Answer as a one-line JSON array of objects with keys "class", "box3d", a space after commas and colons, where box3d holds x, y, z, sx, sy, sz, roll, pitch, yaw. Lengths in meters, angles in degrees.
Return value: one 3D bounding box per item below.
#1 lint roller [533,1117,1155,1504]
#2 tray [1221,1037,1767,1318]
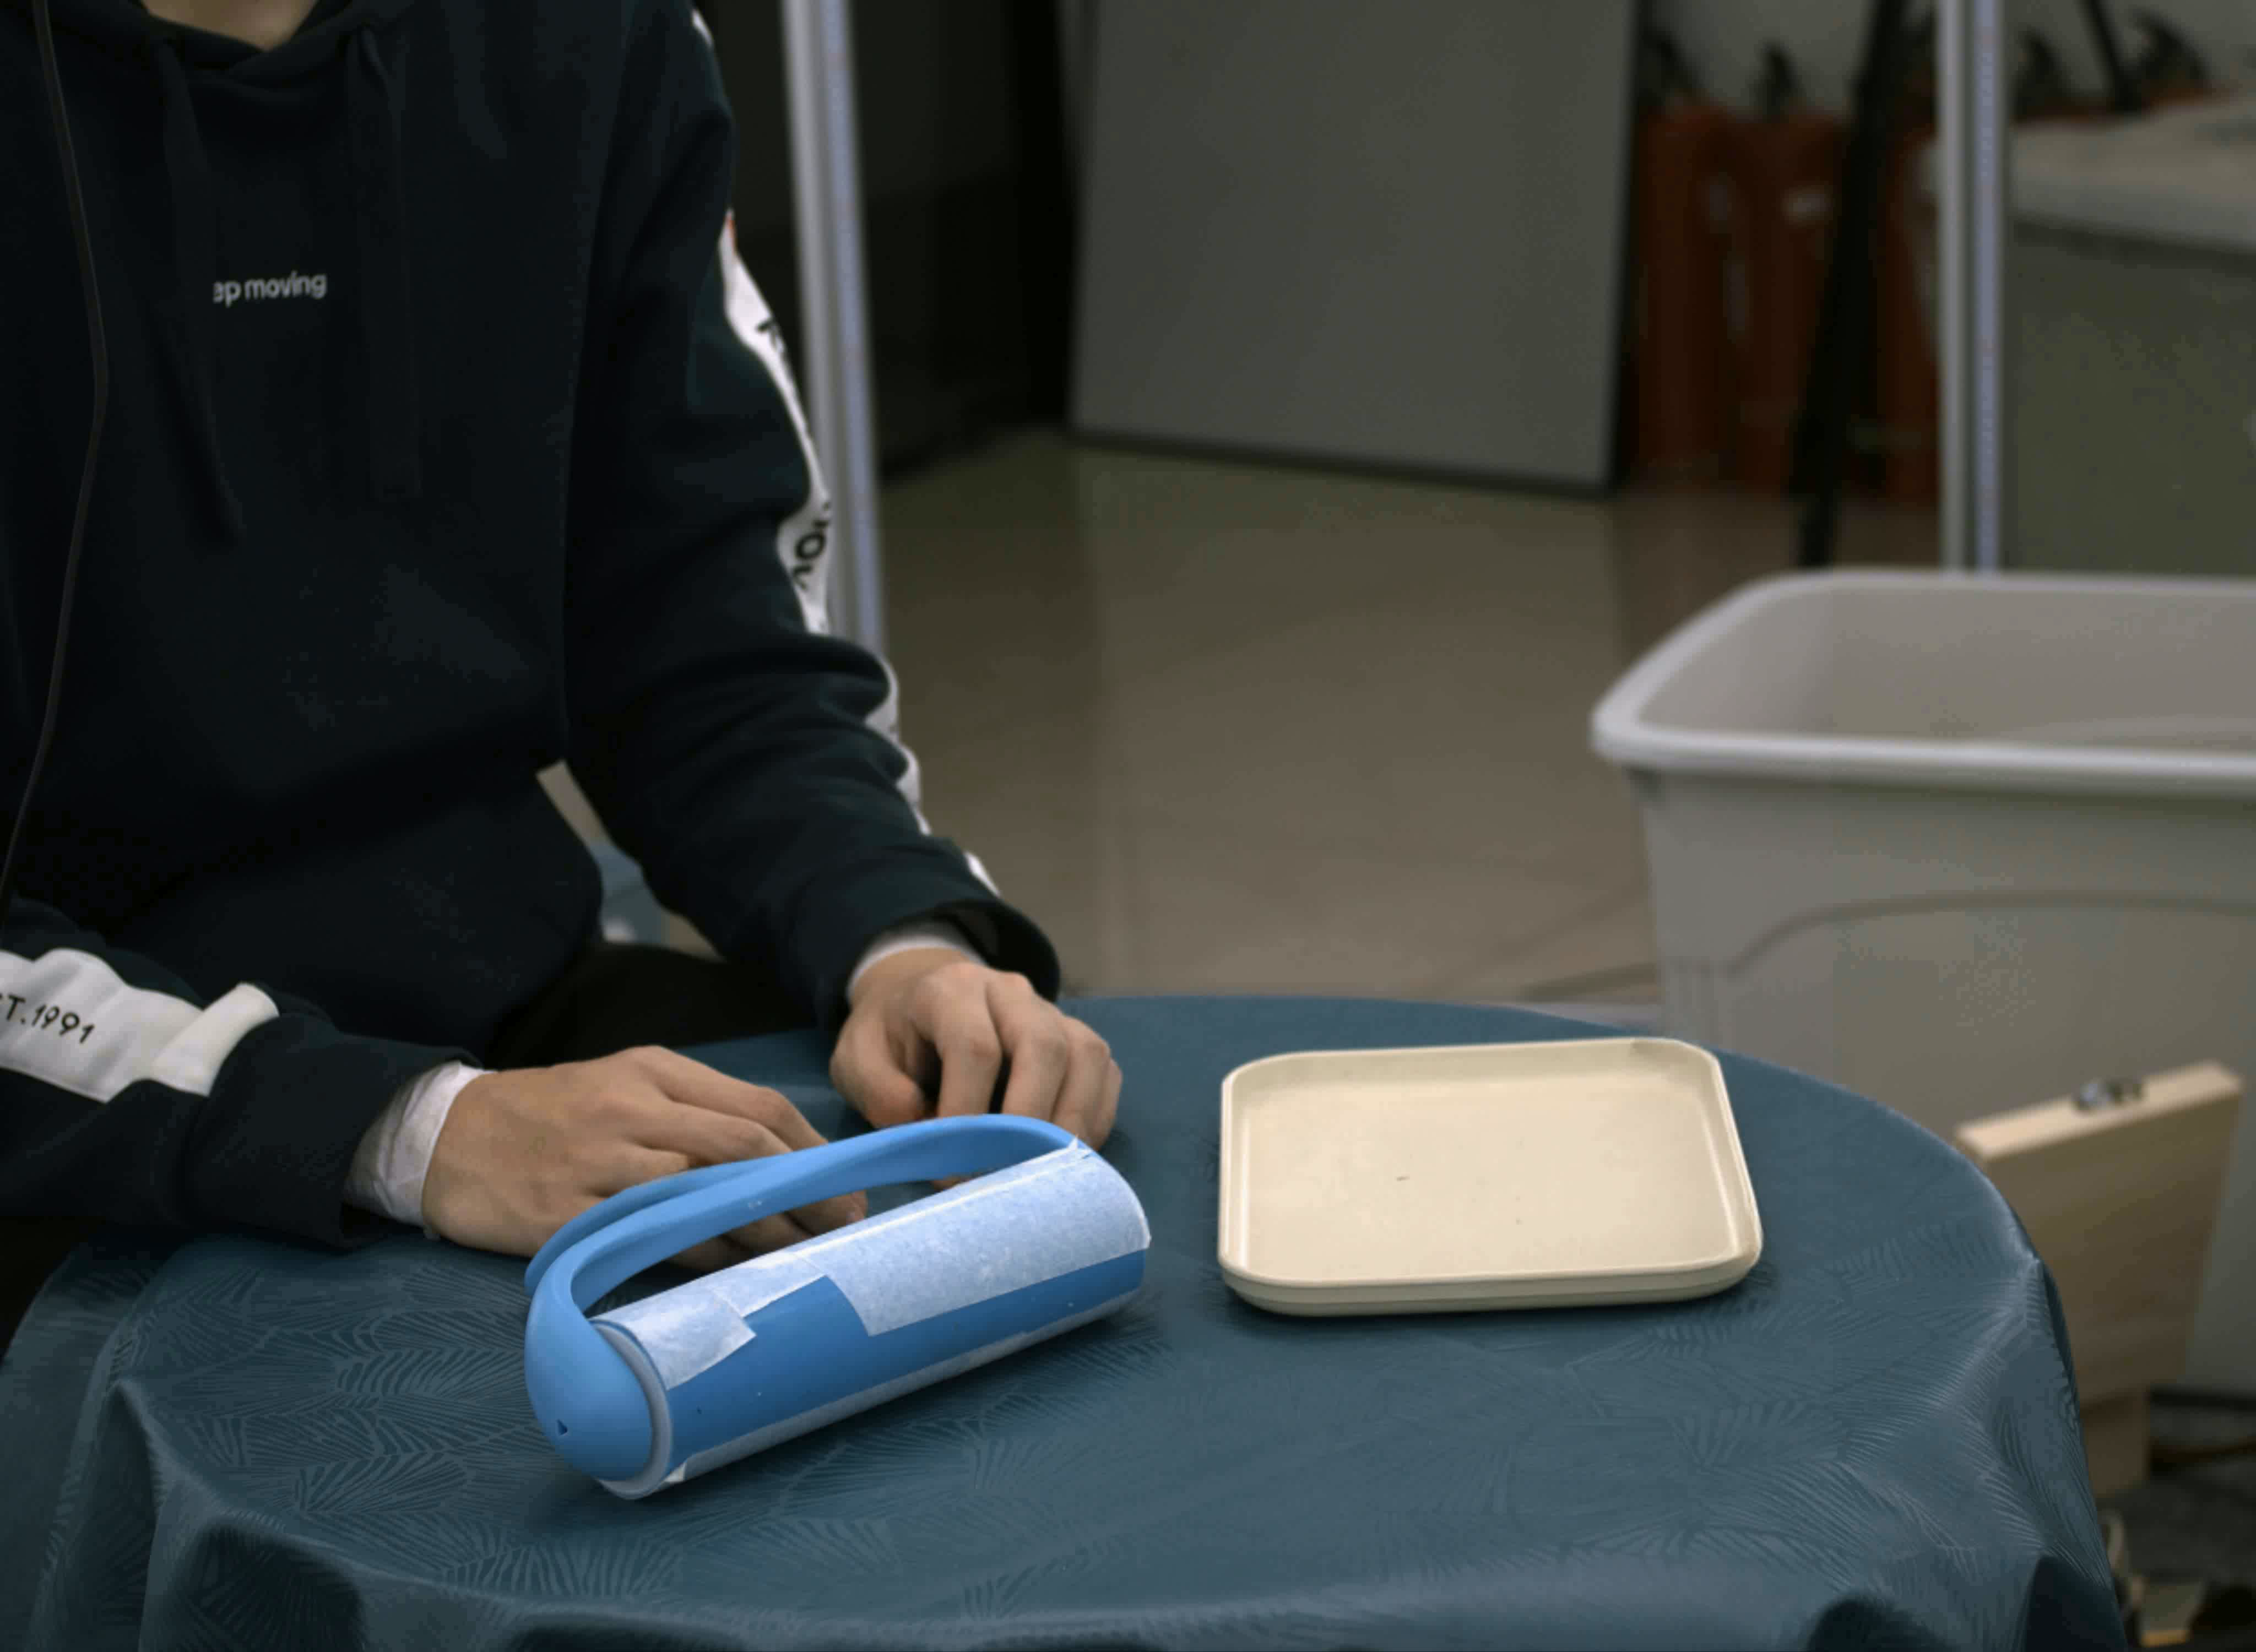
[{"class": "lint roller", "box3d": [-0.120, 0.136, 1.627, 0.182, 0.068, 0.224, 10, 21, 42]}, {"class": "tray", "box3d": [0.114, 0.112, 1.735, 0.169, 0.017, 0.239, -4, 14, 3]}]
